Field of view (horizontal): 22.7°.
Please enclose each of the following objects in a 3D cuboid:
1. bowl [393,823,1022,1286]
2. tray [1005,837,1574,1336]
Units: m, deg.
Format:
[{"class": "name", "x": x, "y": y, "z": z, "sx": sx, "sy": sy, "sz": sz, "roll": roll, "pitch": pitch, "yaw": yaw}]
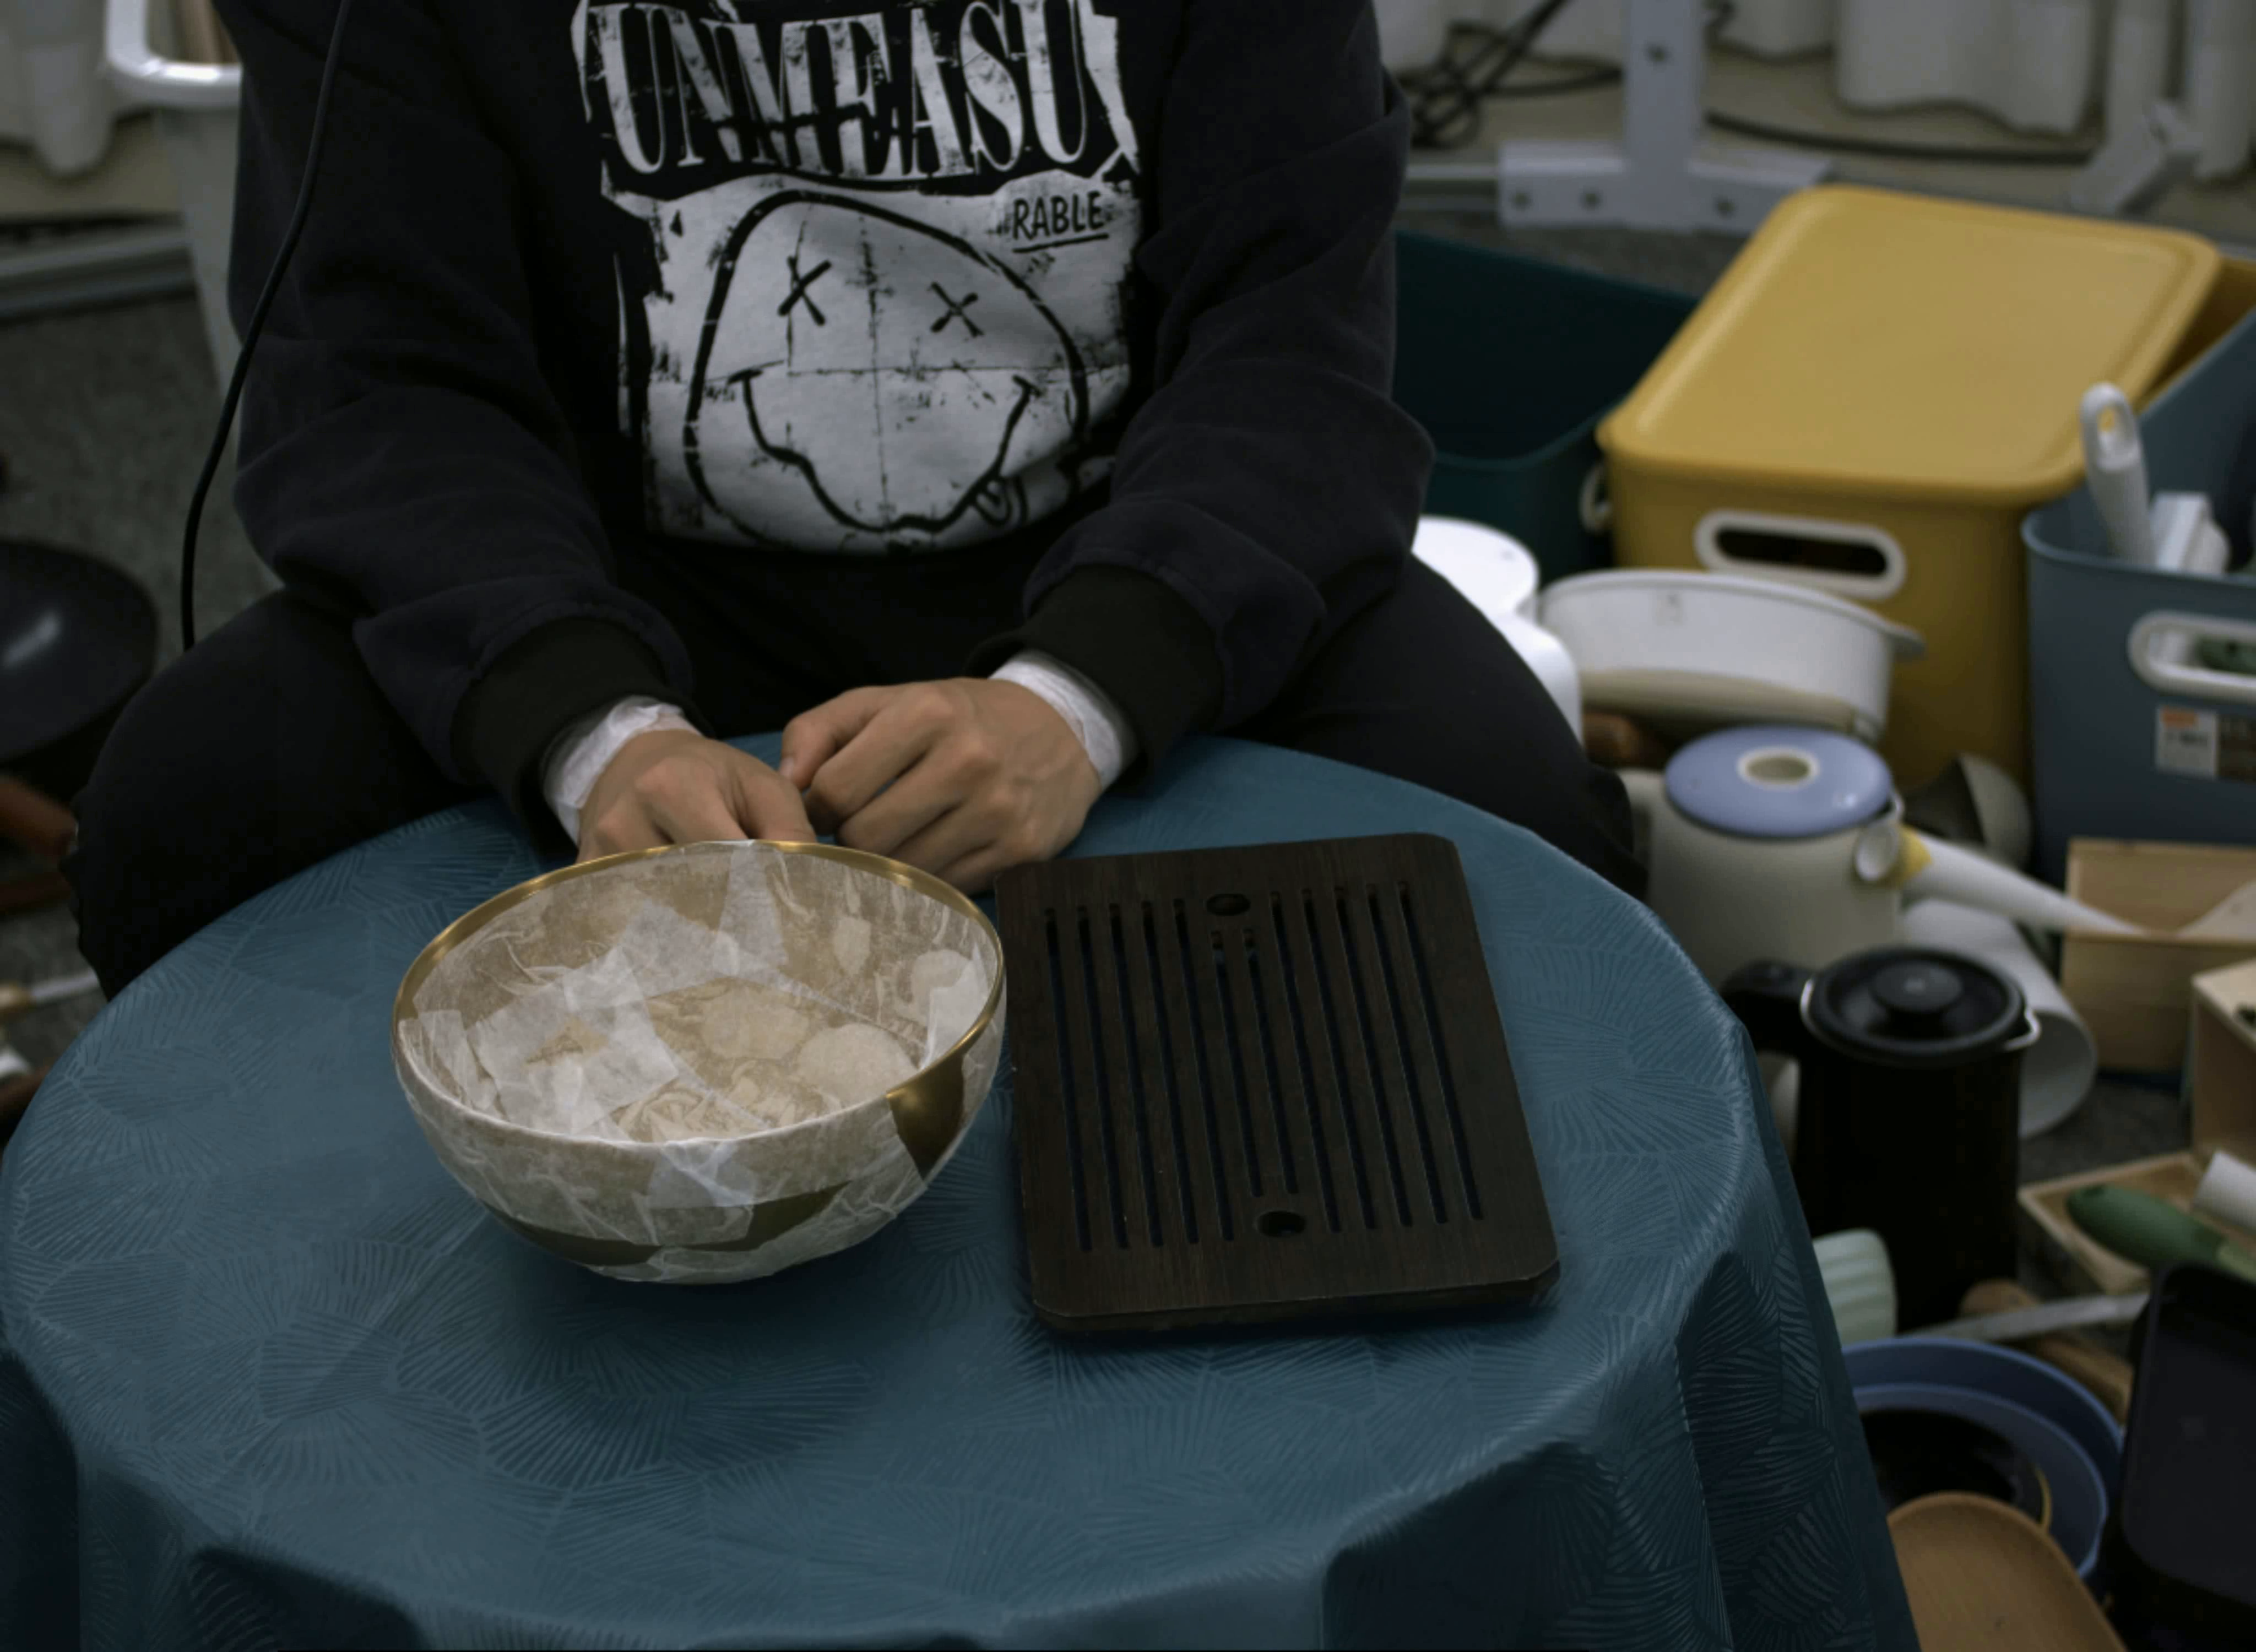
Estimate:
[{"class": "bowl", "x": -0.133, "y": 0.088, "z": 1.840, "sx": 0.213, "sy": 0.093, "sz": 0.218, "roll": -3, "pitch": 27, "yaw": 2}, {"class": "tray", "x": 0.048, "y": 0.086, "z": 1.906, "sx": 0.169, "sy": 0.018, "sz": 0.310, "roll": -4, "pitch": 27, "yaw": -2}]
